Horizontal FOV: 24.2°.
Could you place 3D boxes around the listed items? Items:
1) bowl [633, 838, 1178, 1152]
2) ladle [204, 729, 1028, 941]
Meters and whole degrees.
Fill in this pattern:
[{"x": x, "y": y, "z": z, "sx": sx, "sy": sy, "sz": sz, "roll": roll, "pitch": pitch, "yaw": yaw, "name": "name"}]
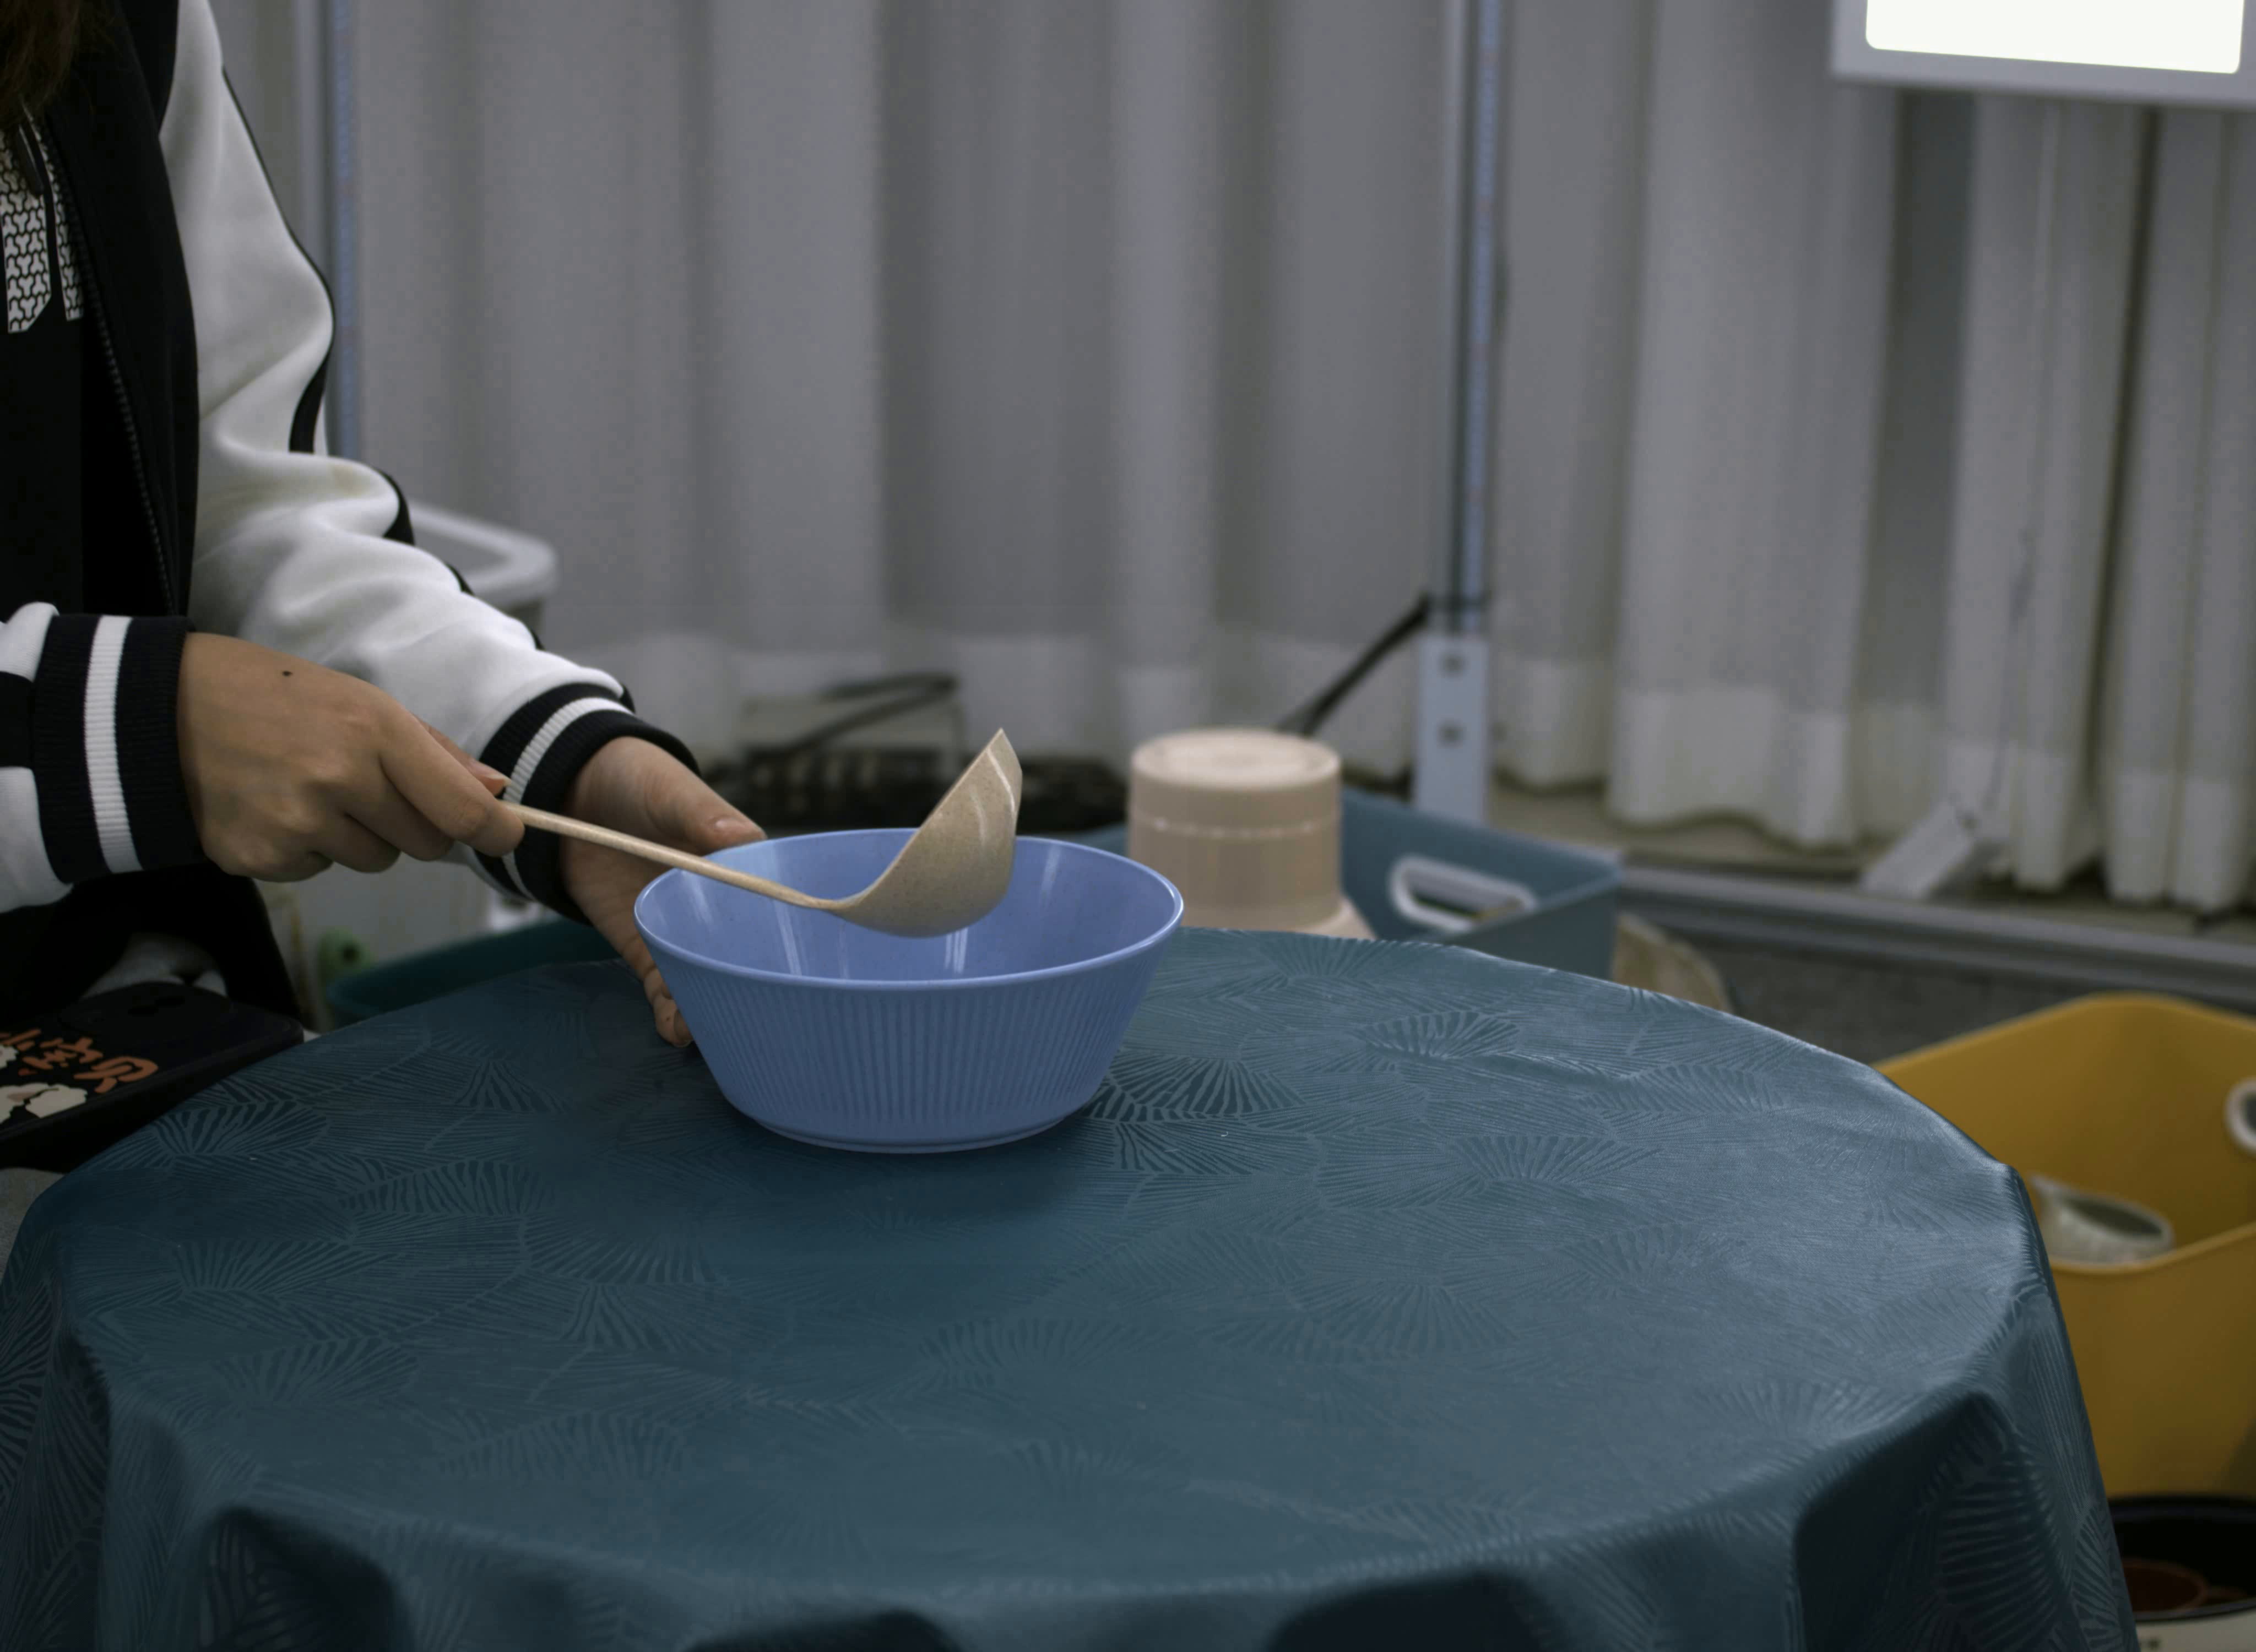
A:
[{"x": -0.071, "y": 0.056, "z": 1.691, "sx": 0.175, "sy": 0.071, "sz": 0.175, "roll": 1, "pitch": 15, "yaw": 0, "name": "bowl"}, {"x": -0.156, "y": -0.020, "z": 1.649, "sx": 0.254, "sy": 0.073, "sz": 0.072, "roll": 13, "pitch": -3, "yaw": -7, "name": "ladle"}]
